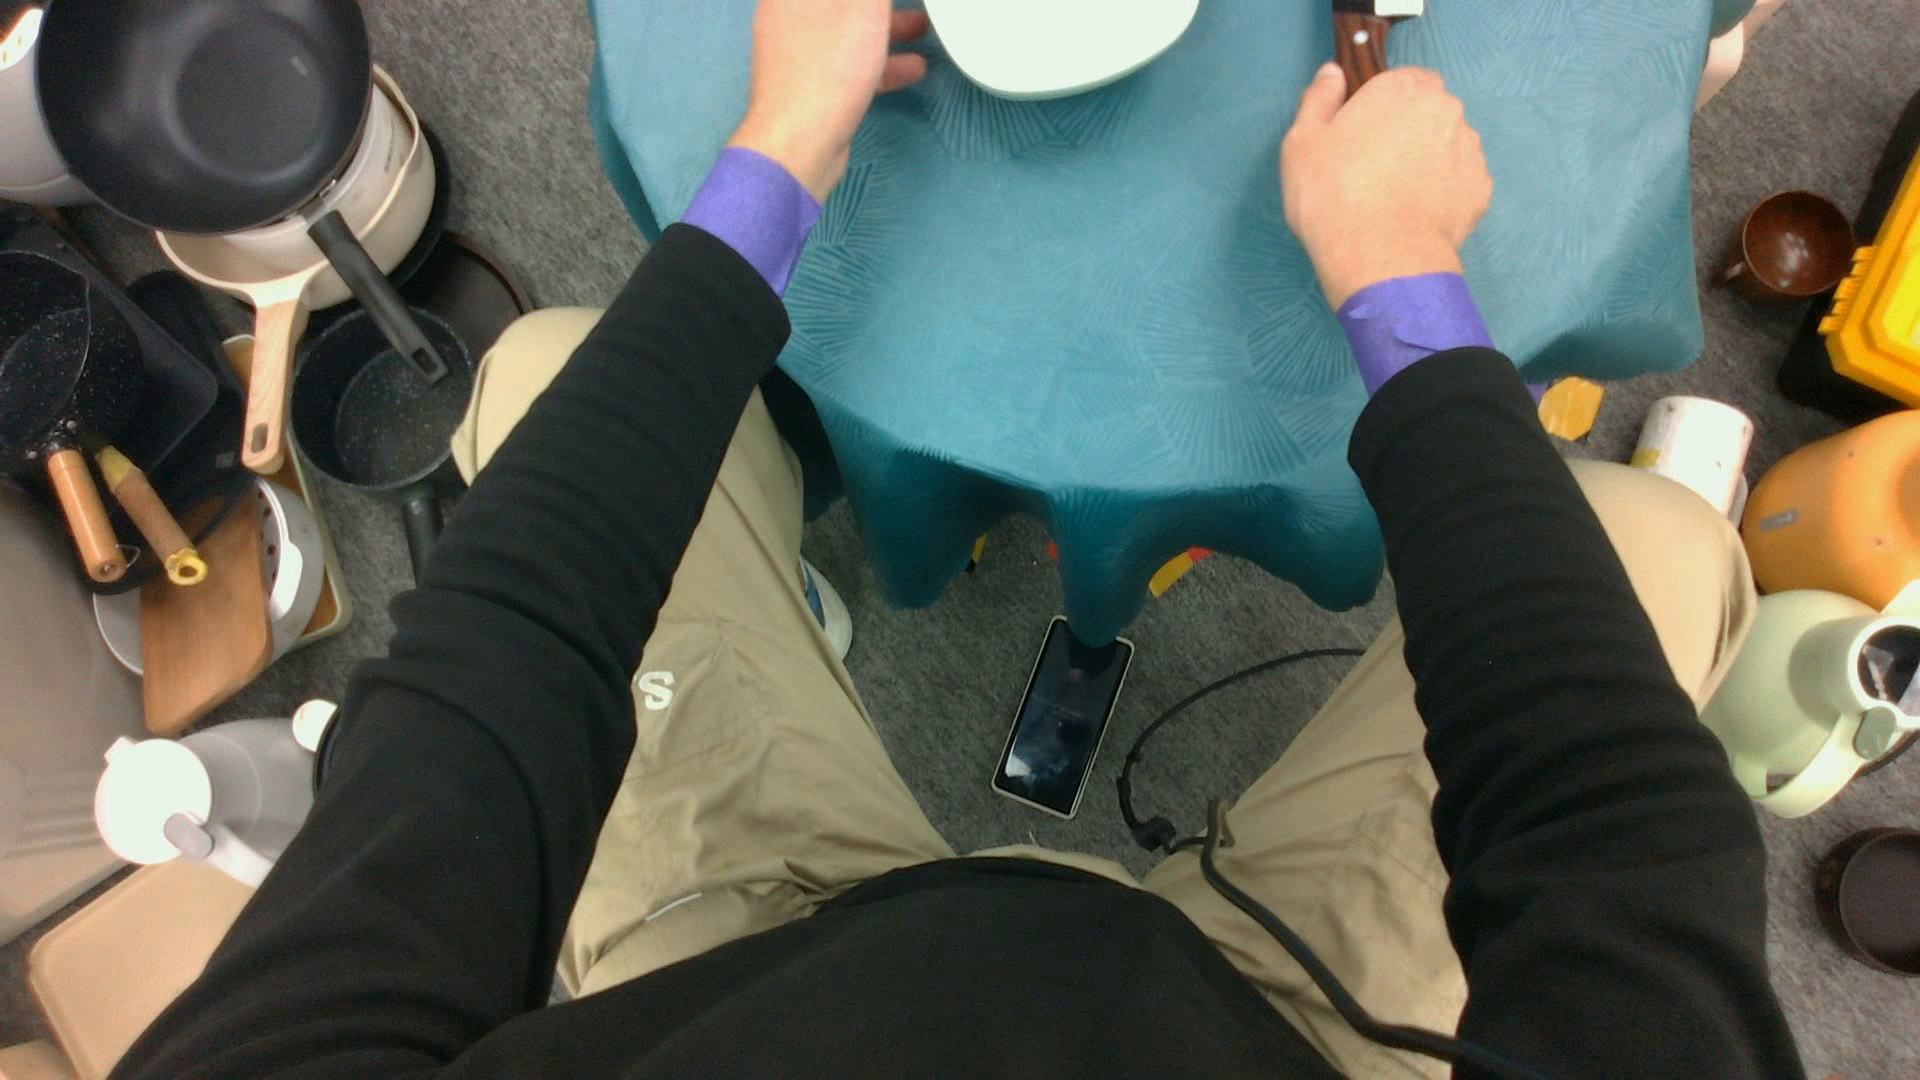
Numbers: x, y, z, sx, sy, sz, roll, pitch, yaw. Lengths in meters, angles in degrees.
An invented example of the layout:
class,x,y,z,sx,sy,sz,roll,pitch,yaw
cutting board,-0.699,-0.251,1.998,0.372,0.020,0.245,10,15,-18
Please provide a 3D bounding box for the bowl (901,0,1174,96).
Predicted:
class,x,y,z,sx,sy,sz,roll,pitch,yaw
bowl,0.037,-0.288,0.715,0.151,0.058,0.151,-1,79,3

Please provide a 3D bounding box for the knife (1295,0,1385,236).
class,x,y,z,sx,sy,sz,roll,pitch,yaw
knife,0.197,-0.290,0.717,0.050,0.020,0.290,2,74,9
